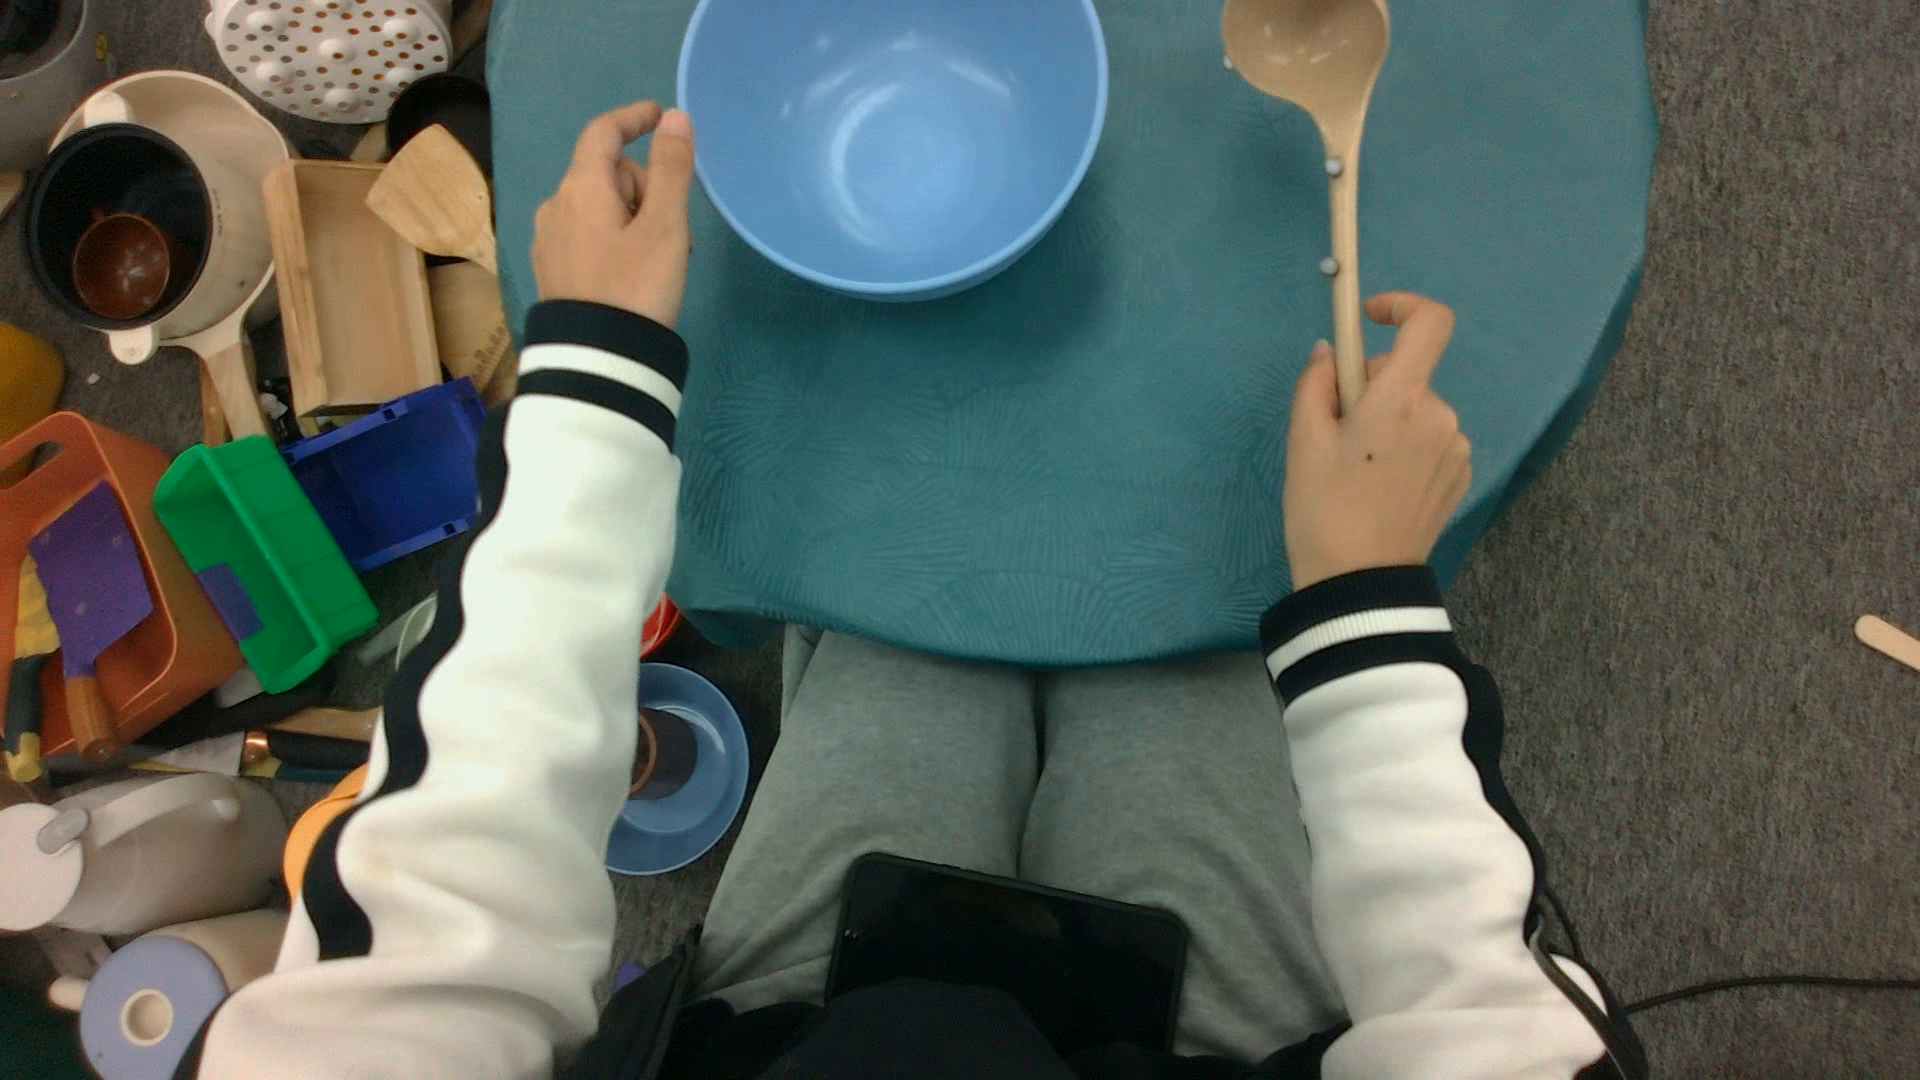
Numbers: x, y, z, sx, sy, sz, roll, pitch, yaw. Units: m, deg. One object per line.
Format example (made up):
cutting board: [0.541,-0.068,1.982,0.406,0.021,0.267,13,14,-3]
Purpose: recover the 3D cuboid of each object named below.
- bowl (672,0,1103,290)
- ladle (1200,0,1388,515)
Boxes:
bowl: [-0.030,-0.203,0.668,0.196,0.095,0.197,-1,78,4]
ladle: [0.152,-0.140,0.607,0.072,0.073,0.255,-13,74,35]
